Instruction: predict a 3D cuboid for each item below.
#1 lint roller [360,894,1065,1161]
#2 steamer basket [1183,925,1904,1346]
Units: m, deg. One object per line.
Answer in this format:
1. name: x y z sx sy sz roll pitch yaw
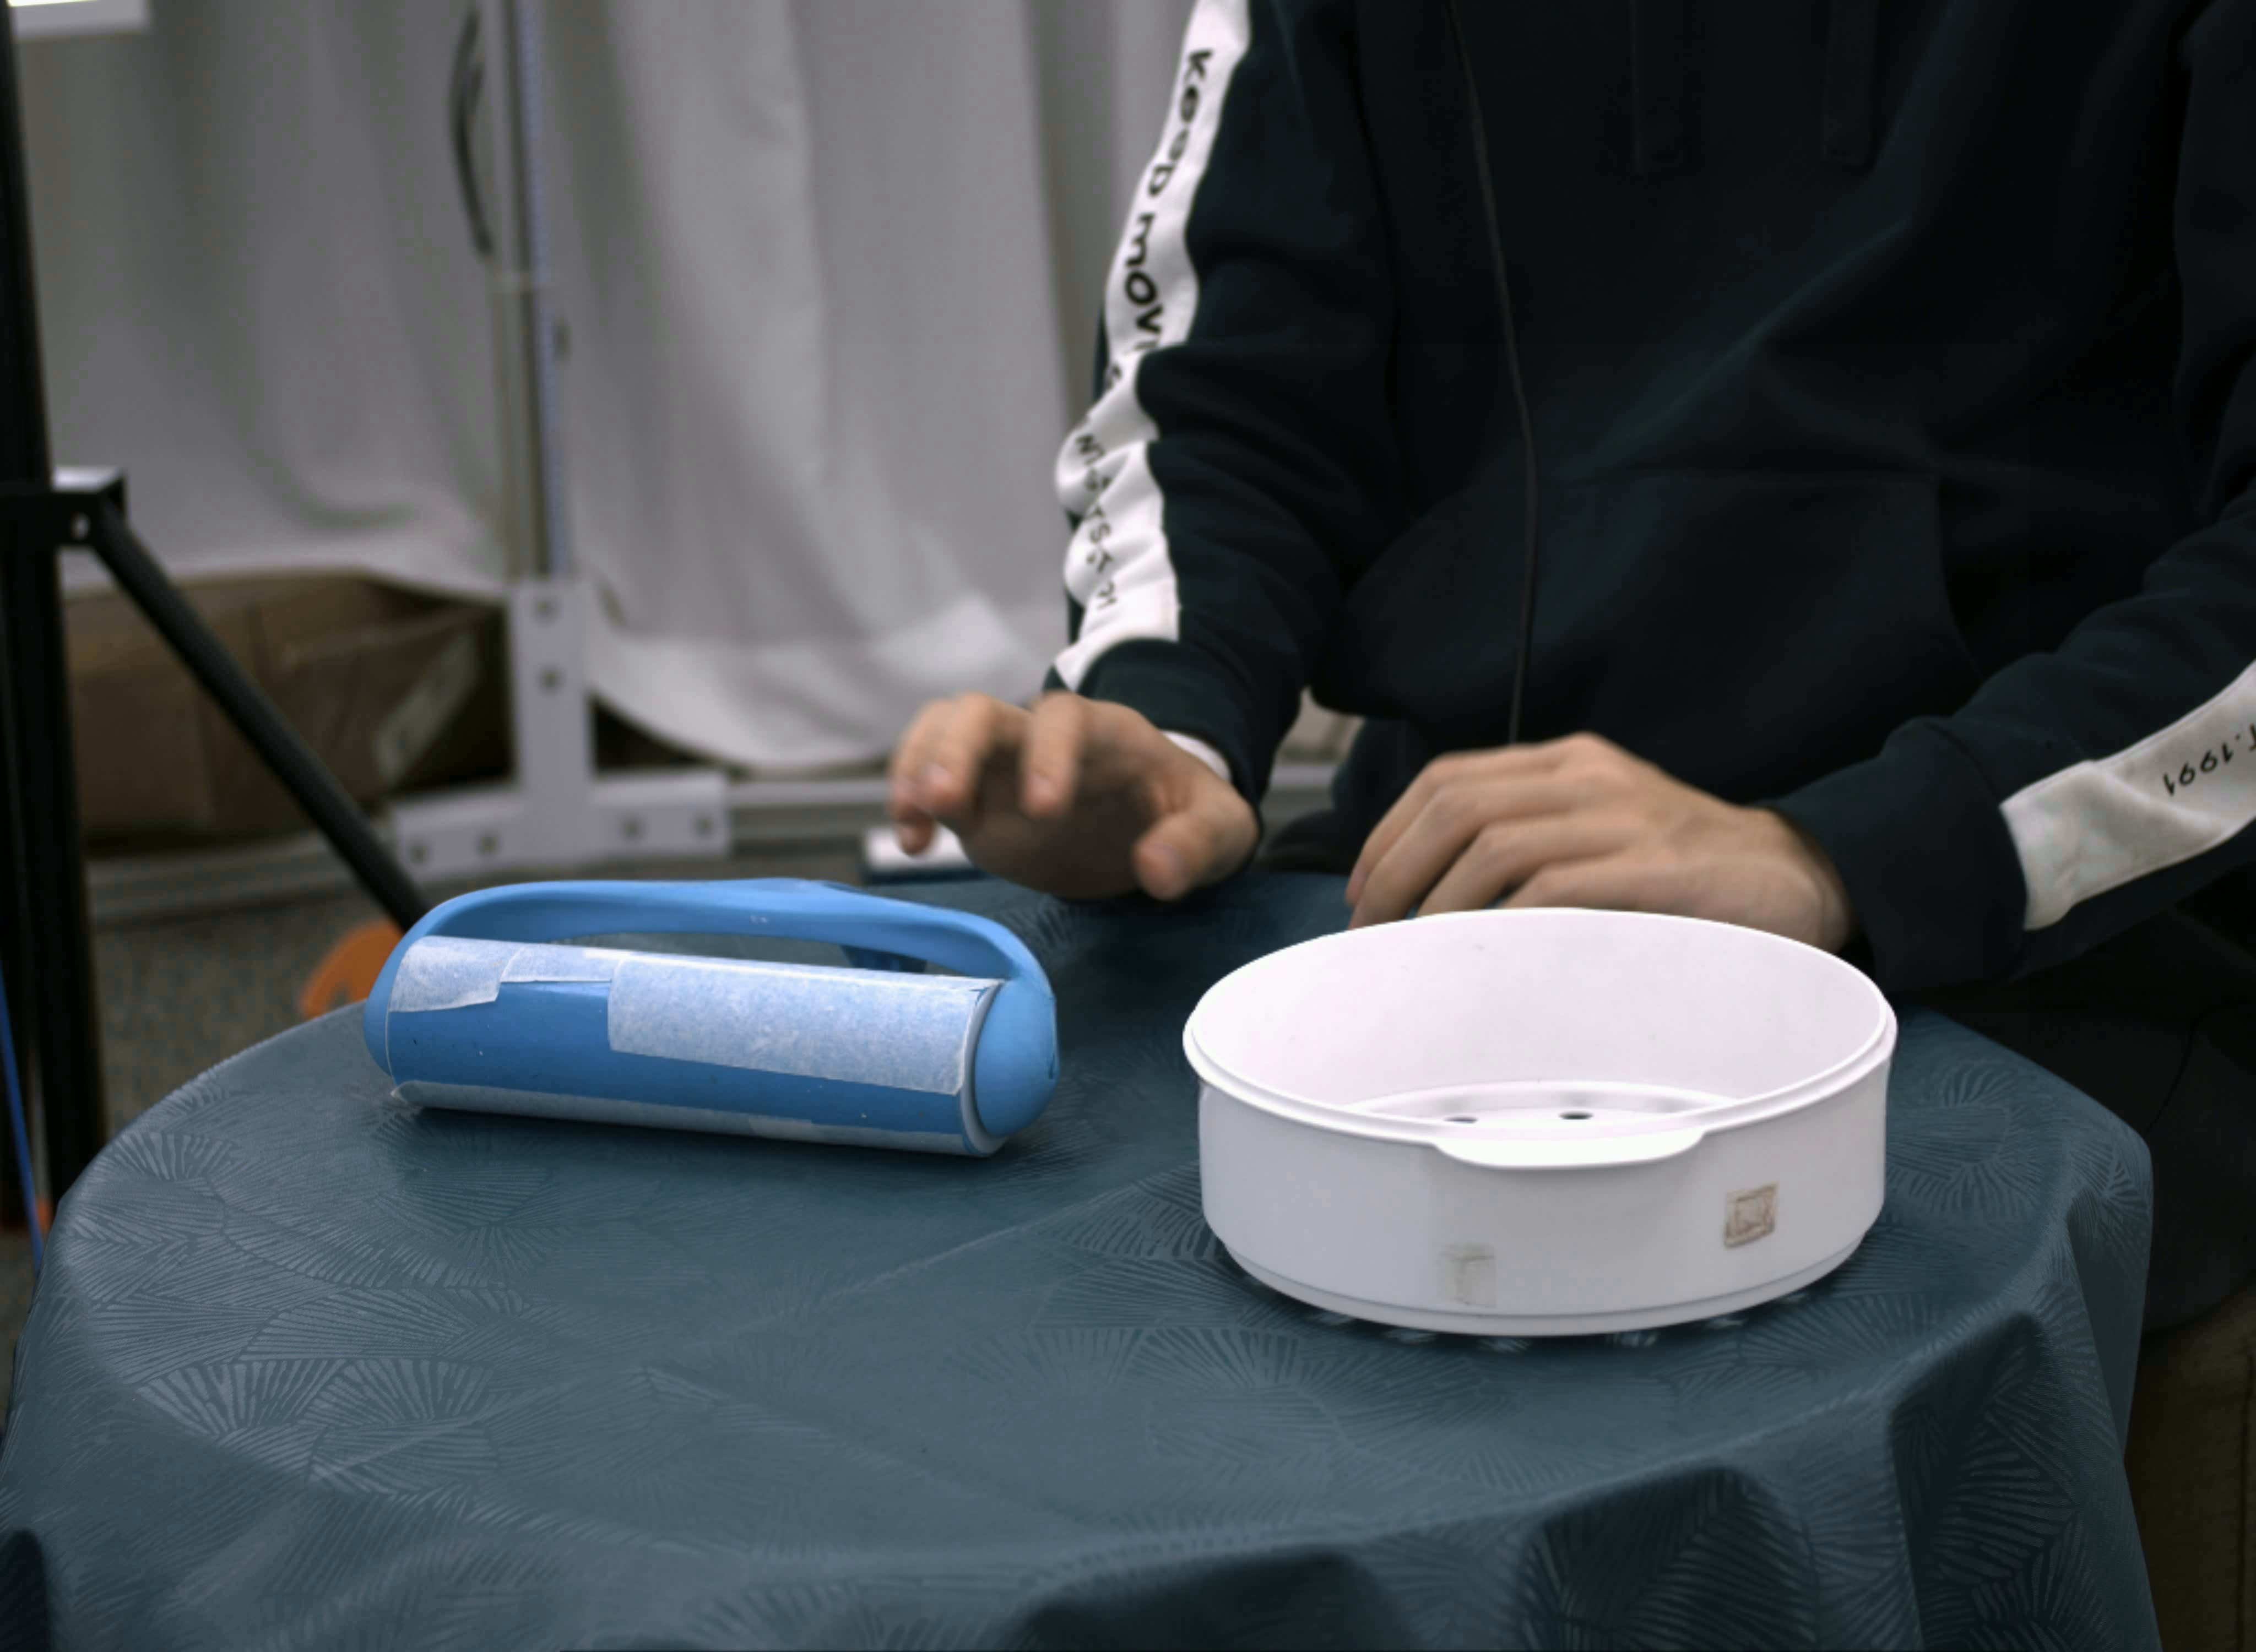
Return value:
1. lint roller: -0.112 0.052 1.677 0.231 0.068 0.178 0 17 18
2. steamer basket: 0.116 0.086 1.490 0.201 0.069 0.231 -2 15 1
